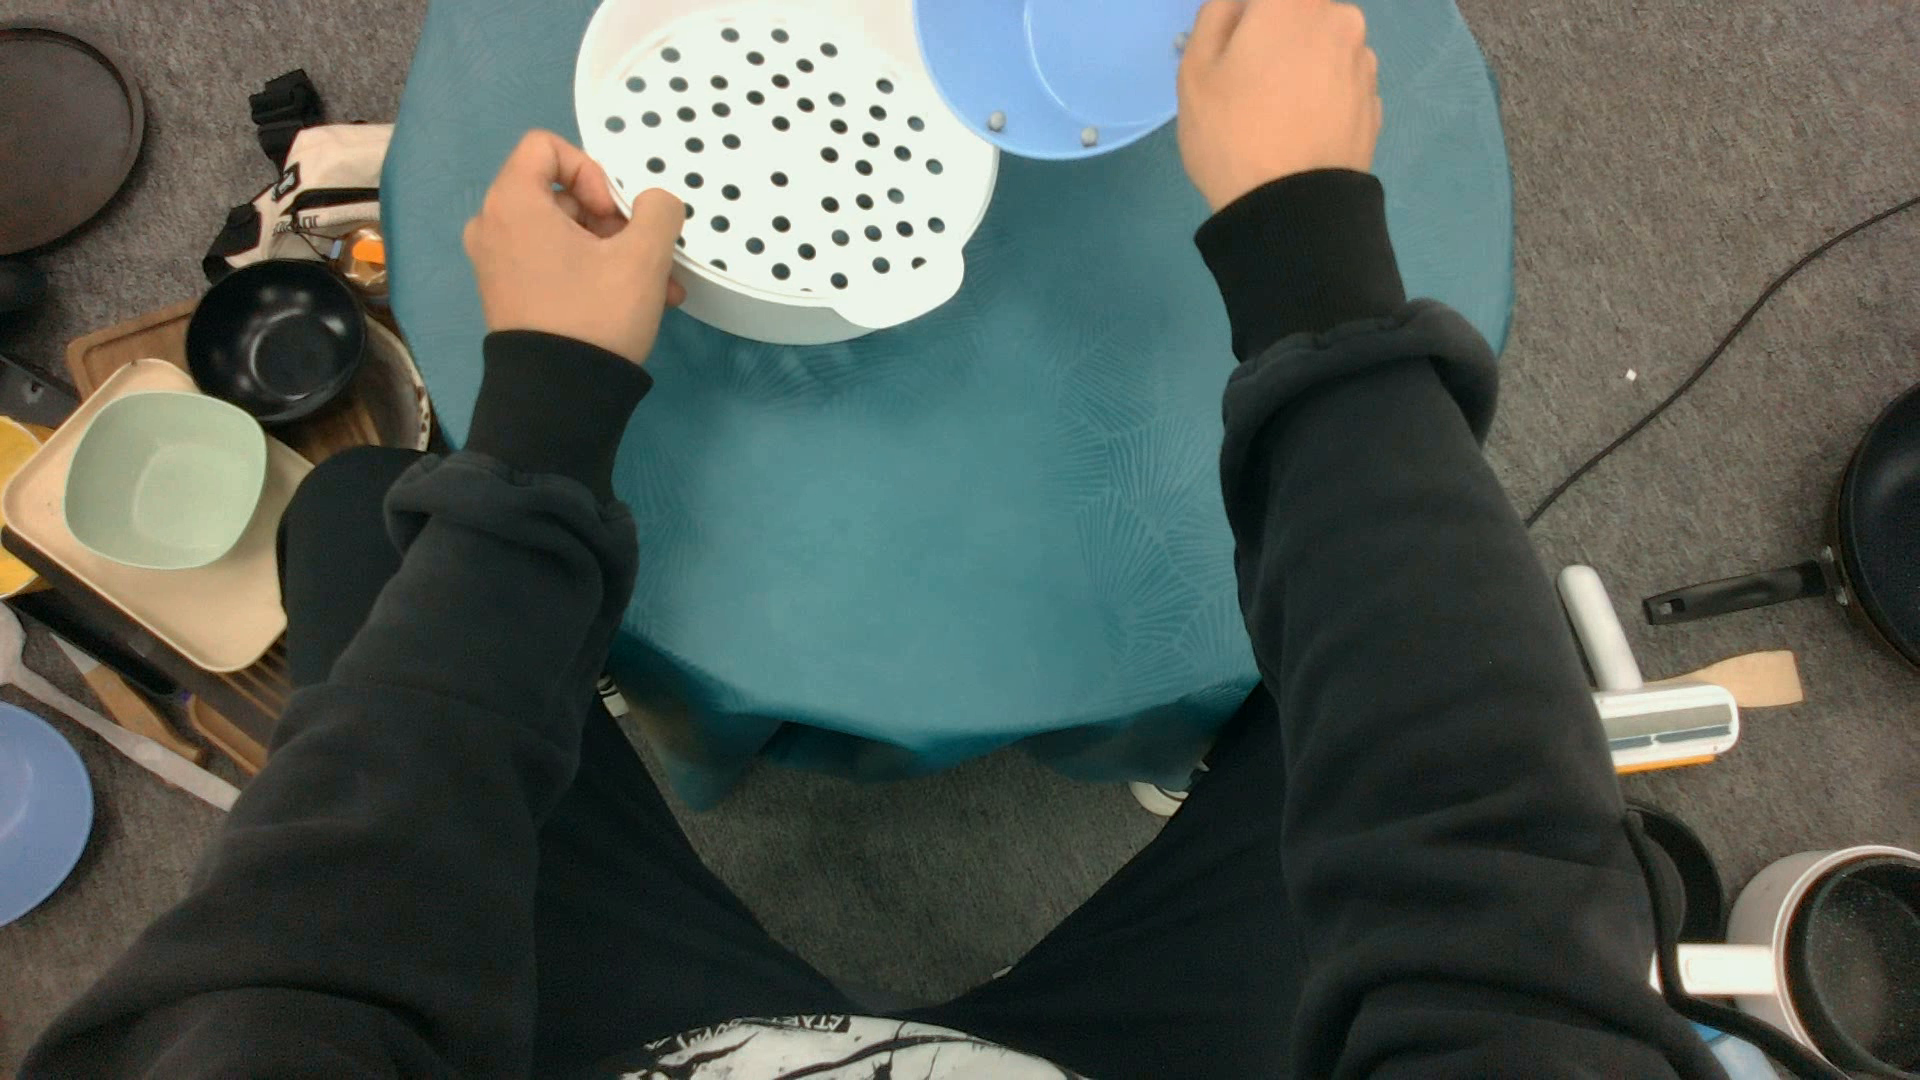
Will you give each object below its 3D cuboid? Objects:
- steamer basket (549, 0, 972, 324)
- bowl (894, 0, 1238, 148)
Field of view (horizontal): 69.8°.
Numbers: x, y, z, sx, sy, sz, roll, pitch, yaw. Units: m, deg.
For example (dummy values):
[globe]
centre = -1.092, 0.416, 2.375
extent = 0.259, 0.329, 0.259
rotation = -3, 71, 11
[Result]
[steamer basket]
centre = -0.098, -0.204, 0.680
extent = 0.202, 0.069, 0.231
rotation = -29, 81, -23
[bowl]
centre = 0.060, -0.261, 0.628
extent = 0.175, 0.070, 0.176
rotation = 1, 91, 29
